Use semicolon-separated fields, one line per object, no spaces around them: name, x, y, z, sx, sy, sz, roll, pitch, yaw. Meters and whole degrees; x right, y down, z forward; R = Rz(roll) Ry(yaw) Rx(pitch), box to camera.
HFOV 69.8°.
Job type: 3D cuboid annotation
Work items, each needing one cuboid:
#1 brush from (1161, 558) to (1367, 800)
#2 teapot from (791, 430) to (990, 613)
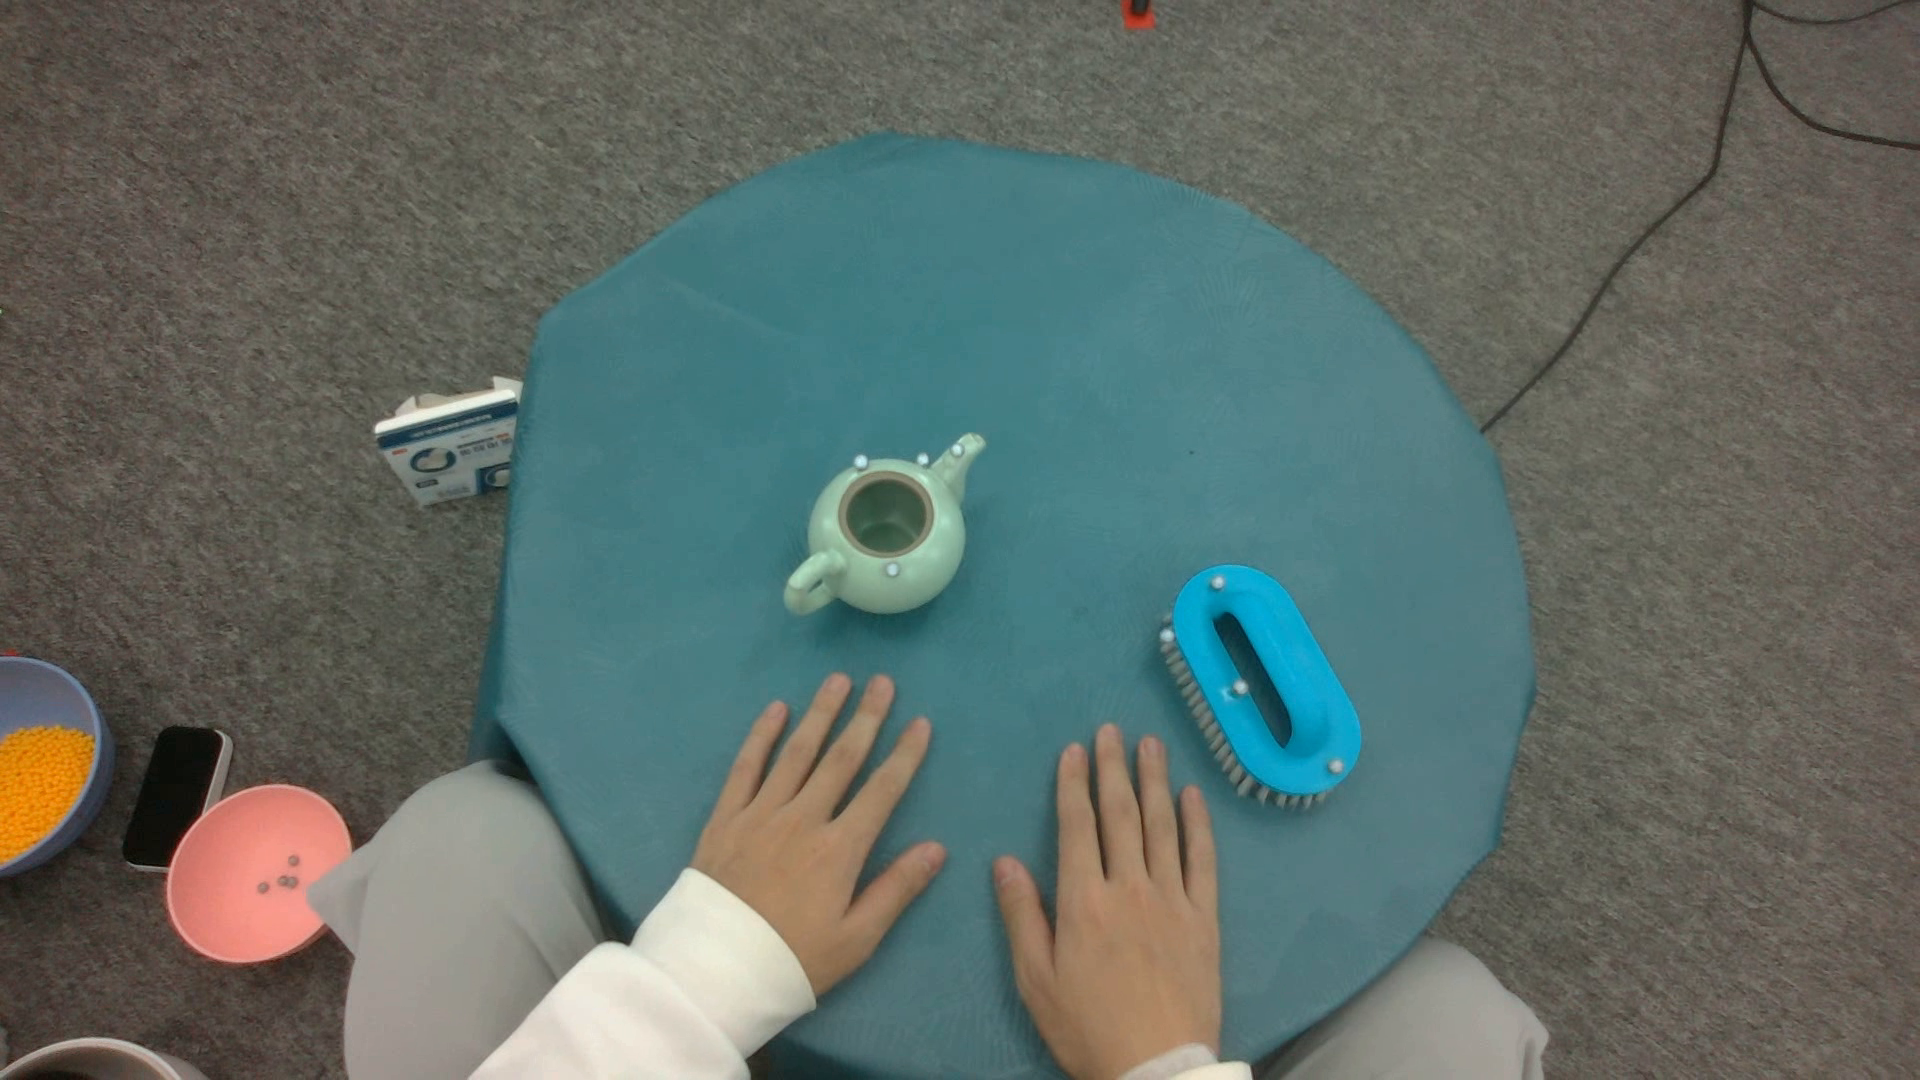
brush;0.173;0.069;0.764;0.084;0.063;0.142;-18;68;-16
teapot;-0.039;-0.004;0.784;0.144;0.074;0.088;-38;74;-21
